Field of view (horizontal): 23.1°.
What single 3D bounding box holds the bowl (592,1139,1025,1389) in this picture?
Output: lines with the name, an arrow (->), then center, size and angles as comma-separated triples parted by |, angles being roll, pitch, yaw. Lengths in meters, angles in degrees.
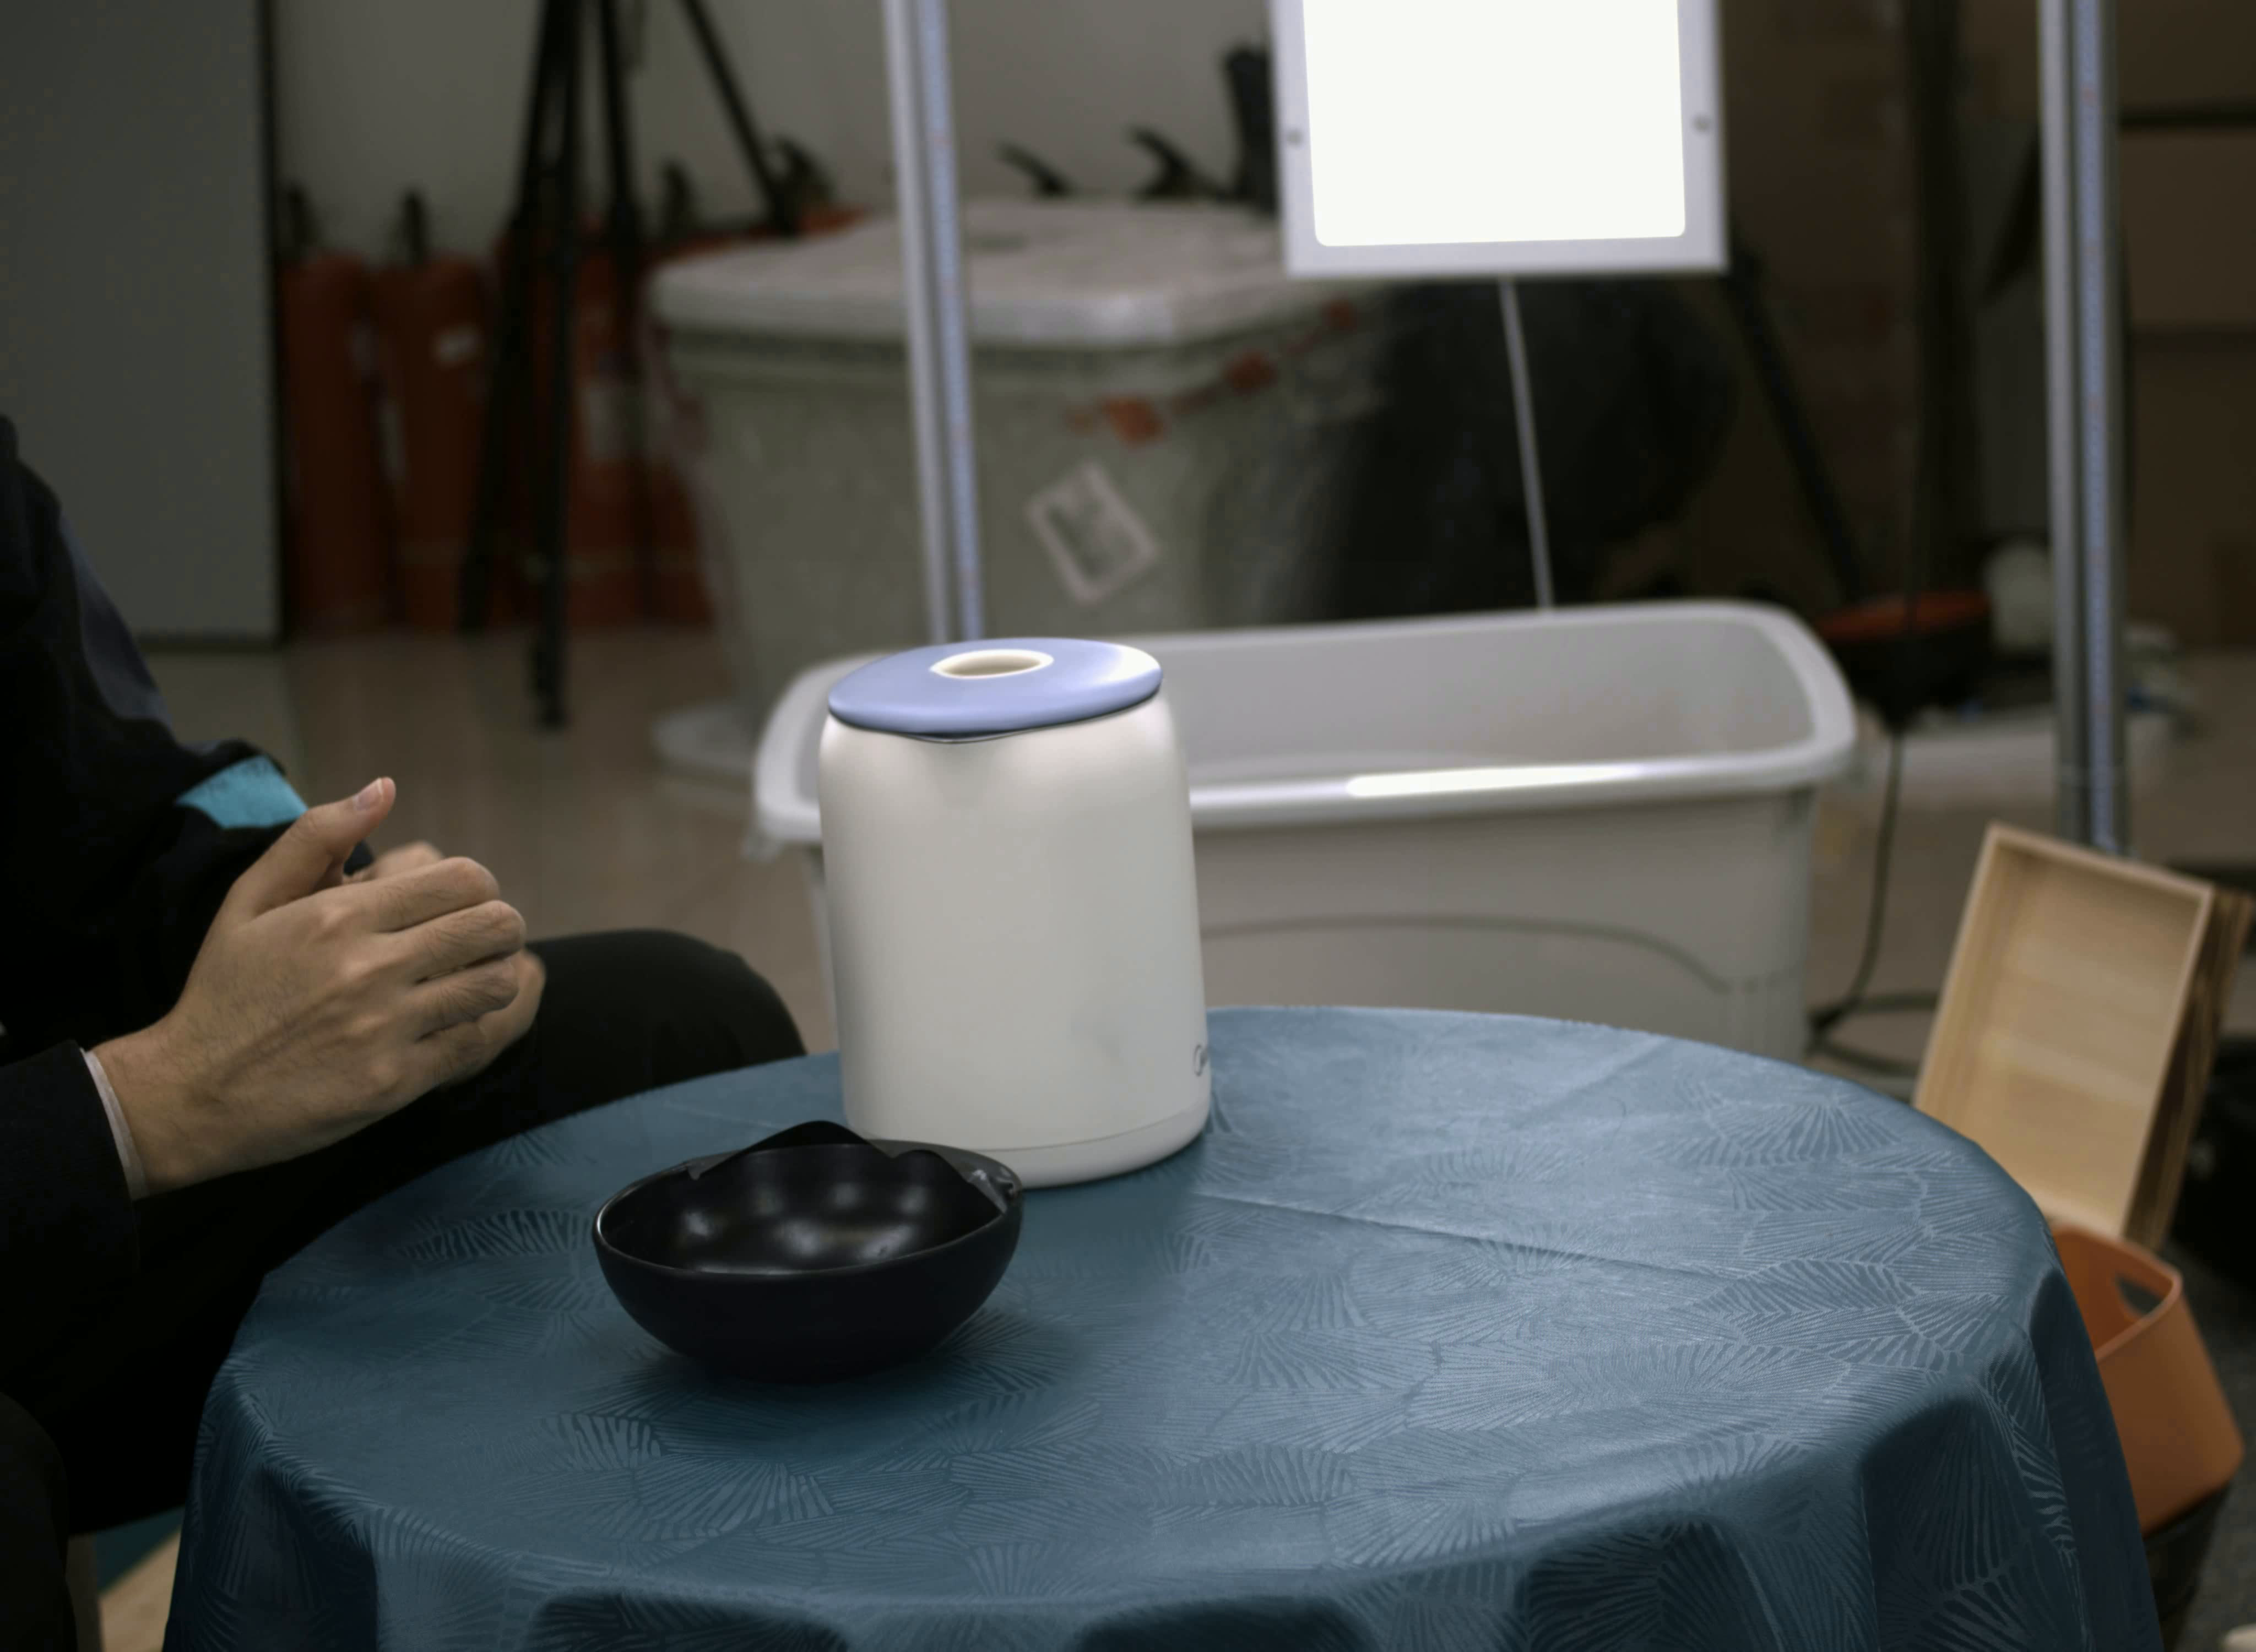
bowl -> -0.099, 0.144, 1.759 | 0.140, 0.050, 0.140 | -8, 14, 0

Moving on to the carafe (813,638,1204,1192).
carafe -> -0.038, 0.025, 1.964 | 0.133, 0.183, 0.189 | -1, 12, 10
